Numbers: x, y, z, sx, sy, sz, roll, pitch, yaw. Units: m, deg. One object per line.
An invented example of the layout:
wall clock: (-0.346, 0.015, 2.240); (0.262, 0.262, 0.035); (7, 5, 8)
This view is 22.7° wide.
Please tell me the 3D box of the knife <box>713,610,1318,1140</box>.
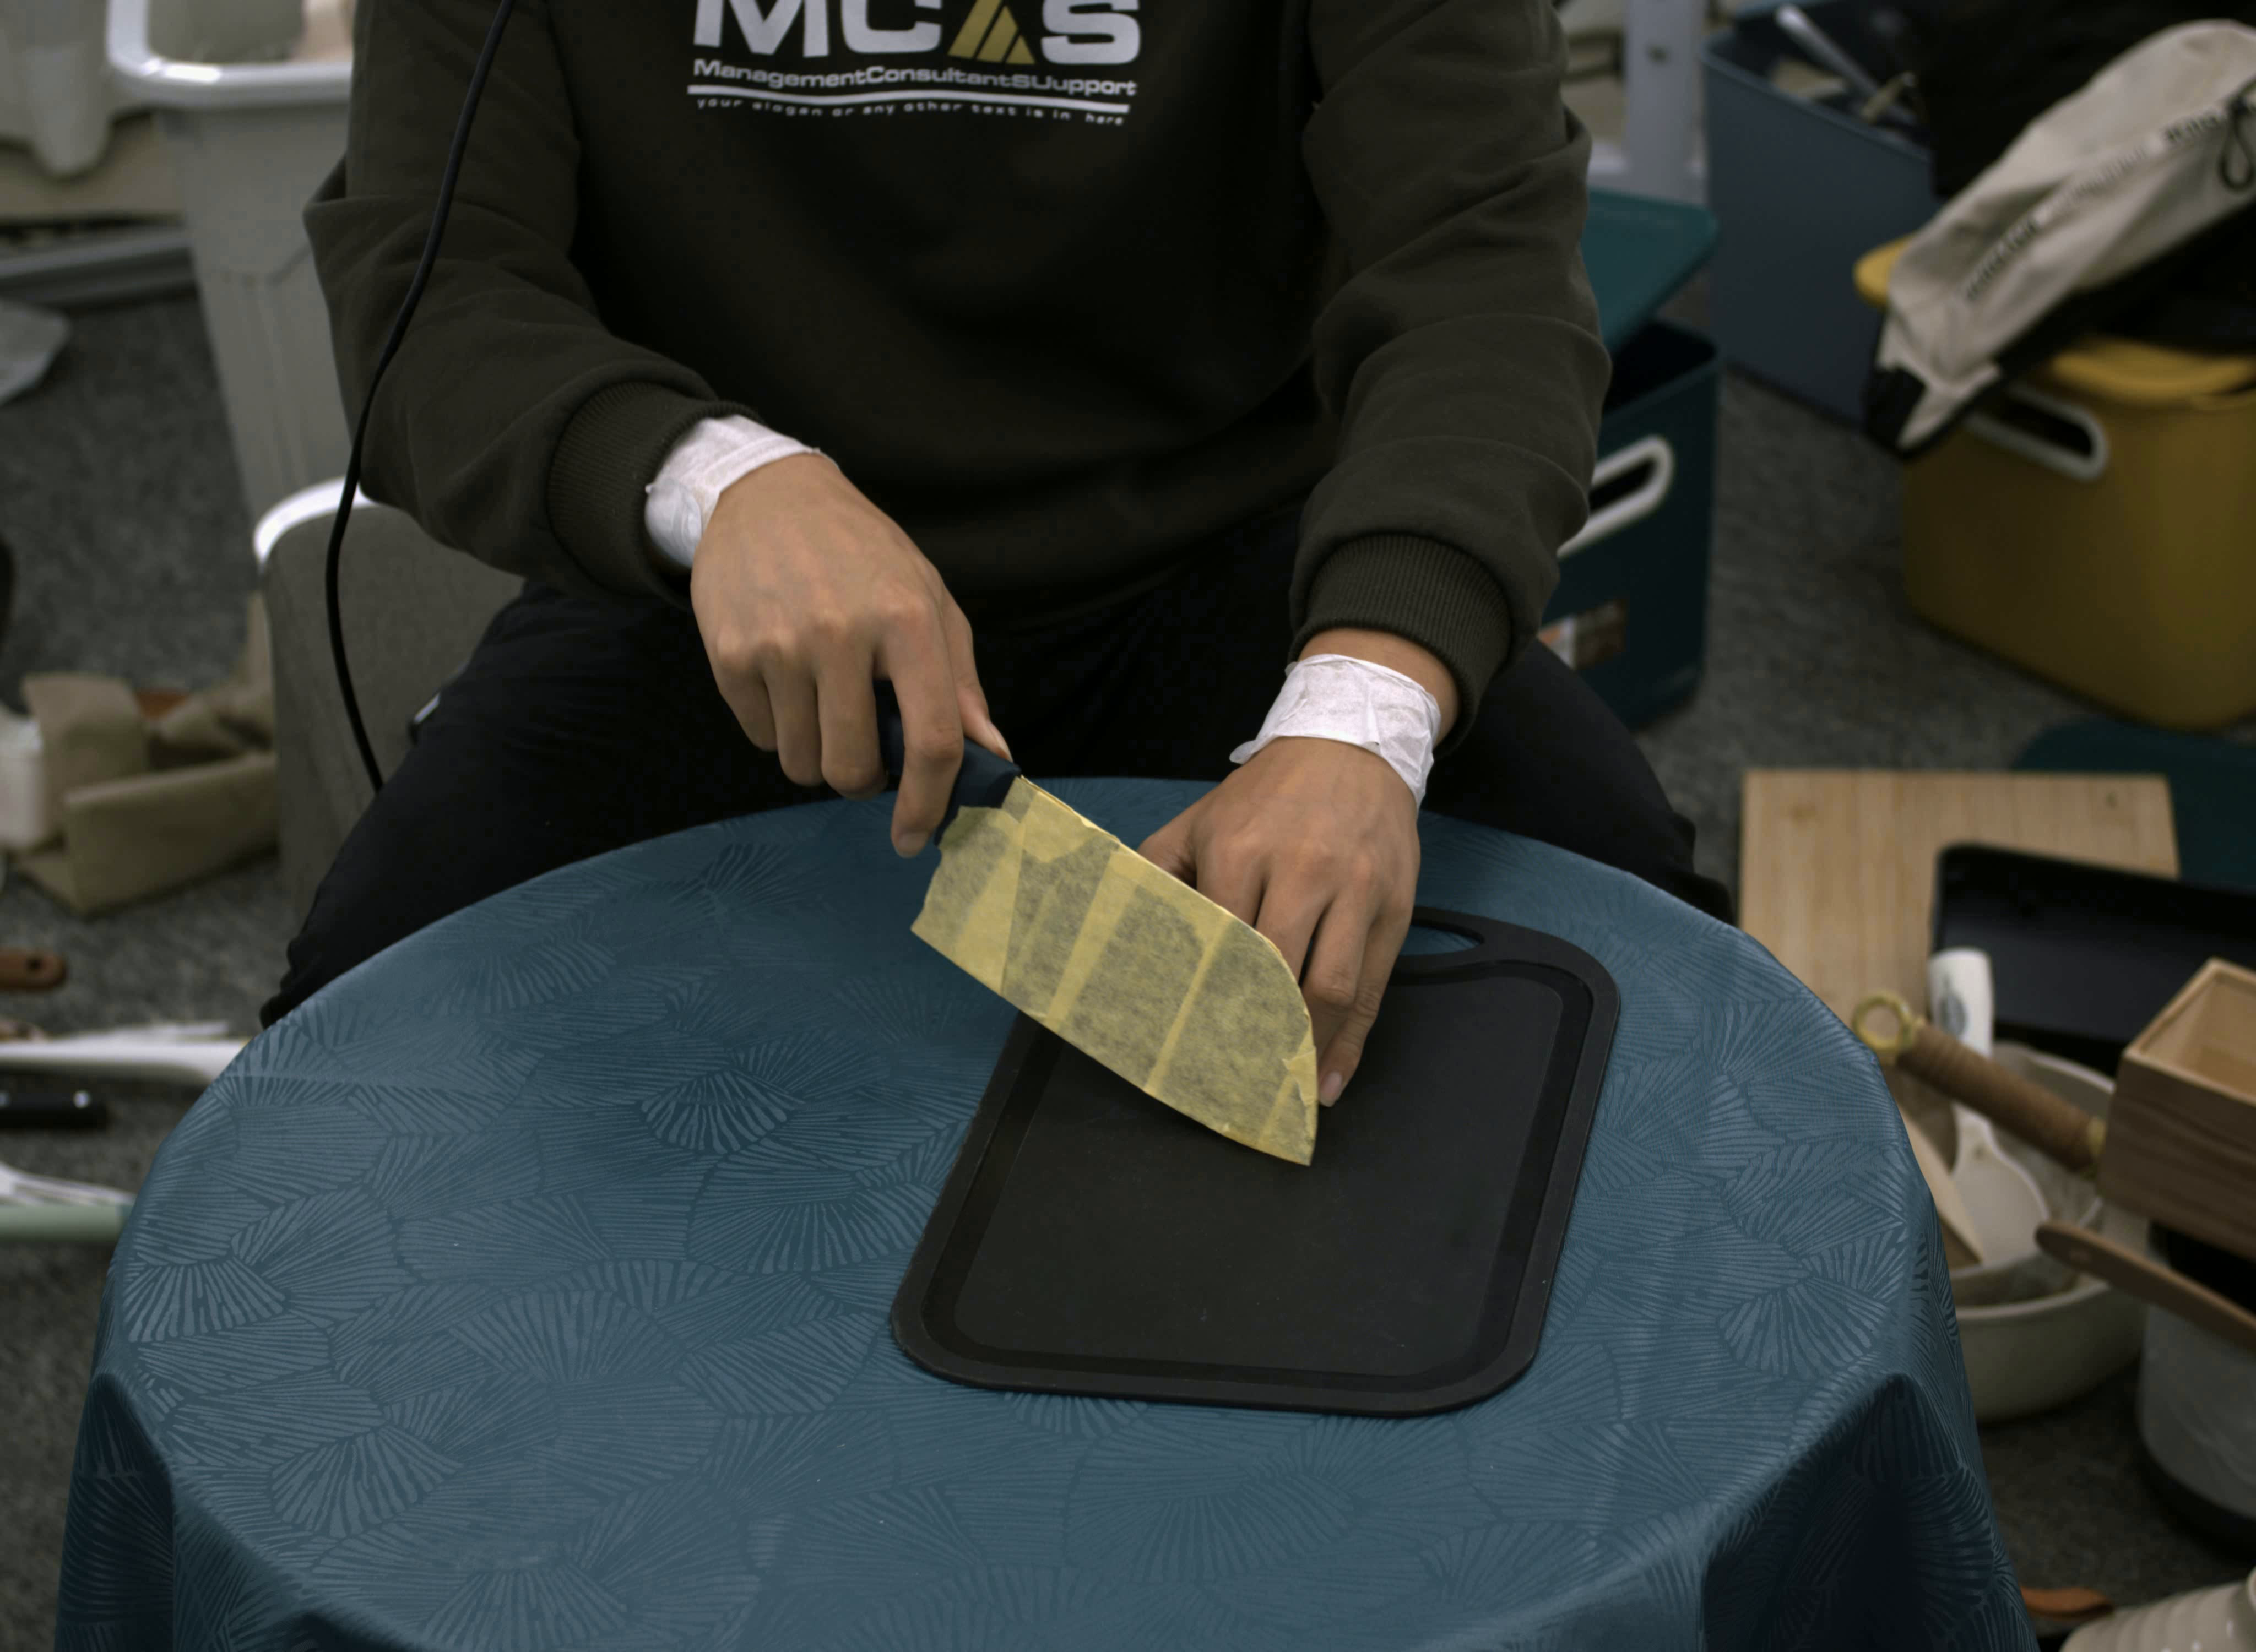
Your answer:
knife: (-0.042, 0.016, 1.924); (0.290, 0.080, 0.027); (37, 19, 26)

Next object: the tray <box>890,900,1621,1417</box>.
tray: (0.049, 0.102, 1.886); (0.210, 0.009, 0.331); (3, 28, 11)
